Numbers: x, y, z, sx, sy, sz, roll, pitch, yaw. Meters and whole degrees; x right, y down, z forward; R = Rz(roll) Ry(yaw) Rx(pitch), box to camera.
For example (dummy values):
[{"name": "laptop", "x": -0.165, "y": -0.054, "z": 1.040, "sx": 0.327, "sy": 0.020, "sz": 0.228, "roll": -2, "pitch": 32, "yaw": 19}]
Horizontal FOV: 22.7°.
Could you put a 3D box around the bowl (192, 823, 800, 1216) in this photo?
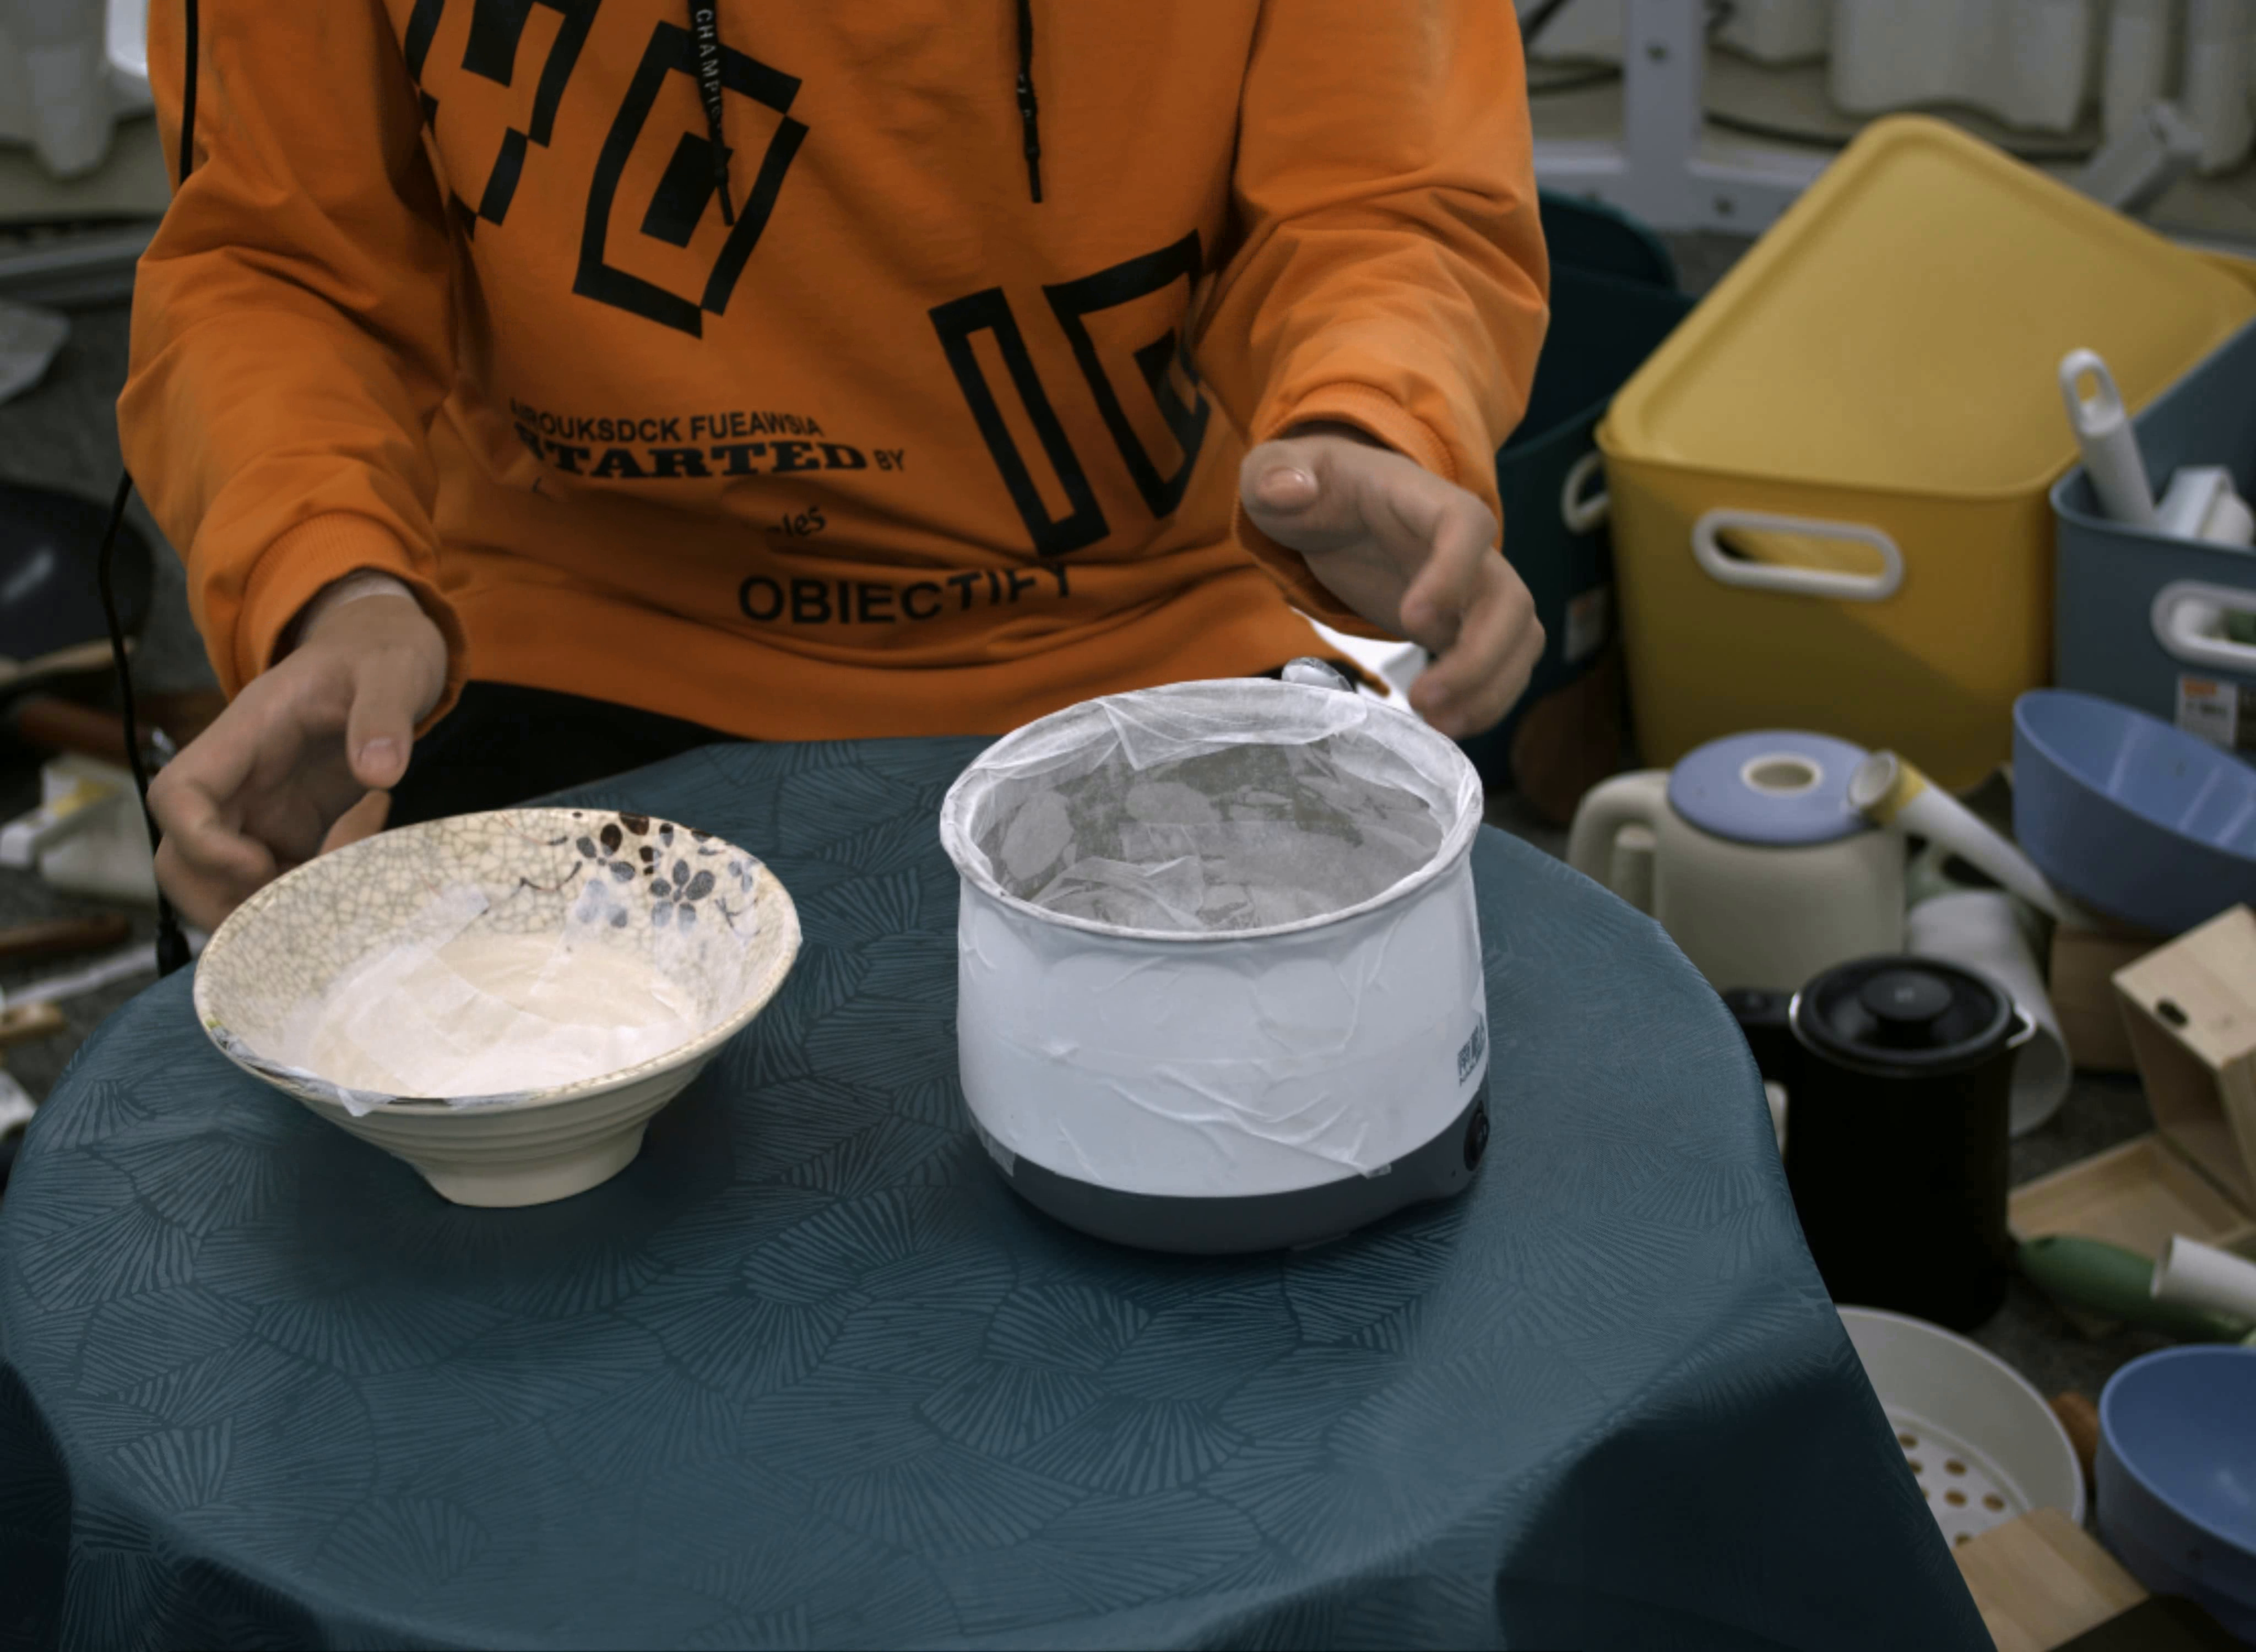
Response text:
[{"name": "bowl", "x": -0.208, "y": 0.077, "z": 1.890, "sx": 0.203, "sy": 0.077, "sz": 0.207, "roll": -3, "pitch": 25, "yaw": 2}]

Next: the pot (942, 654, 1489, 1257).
[{"name": "pot", "x": 0.039, "y": 0.035, "z": 1.877, "sx": 0.177, "sy": 0.135, "sz": 0.238, "roll": 7, "pitch": 29, "yaw": 17}]
